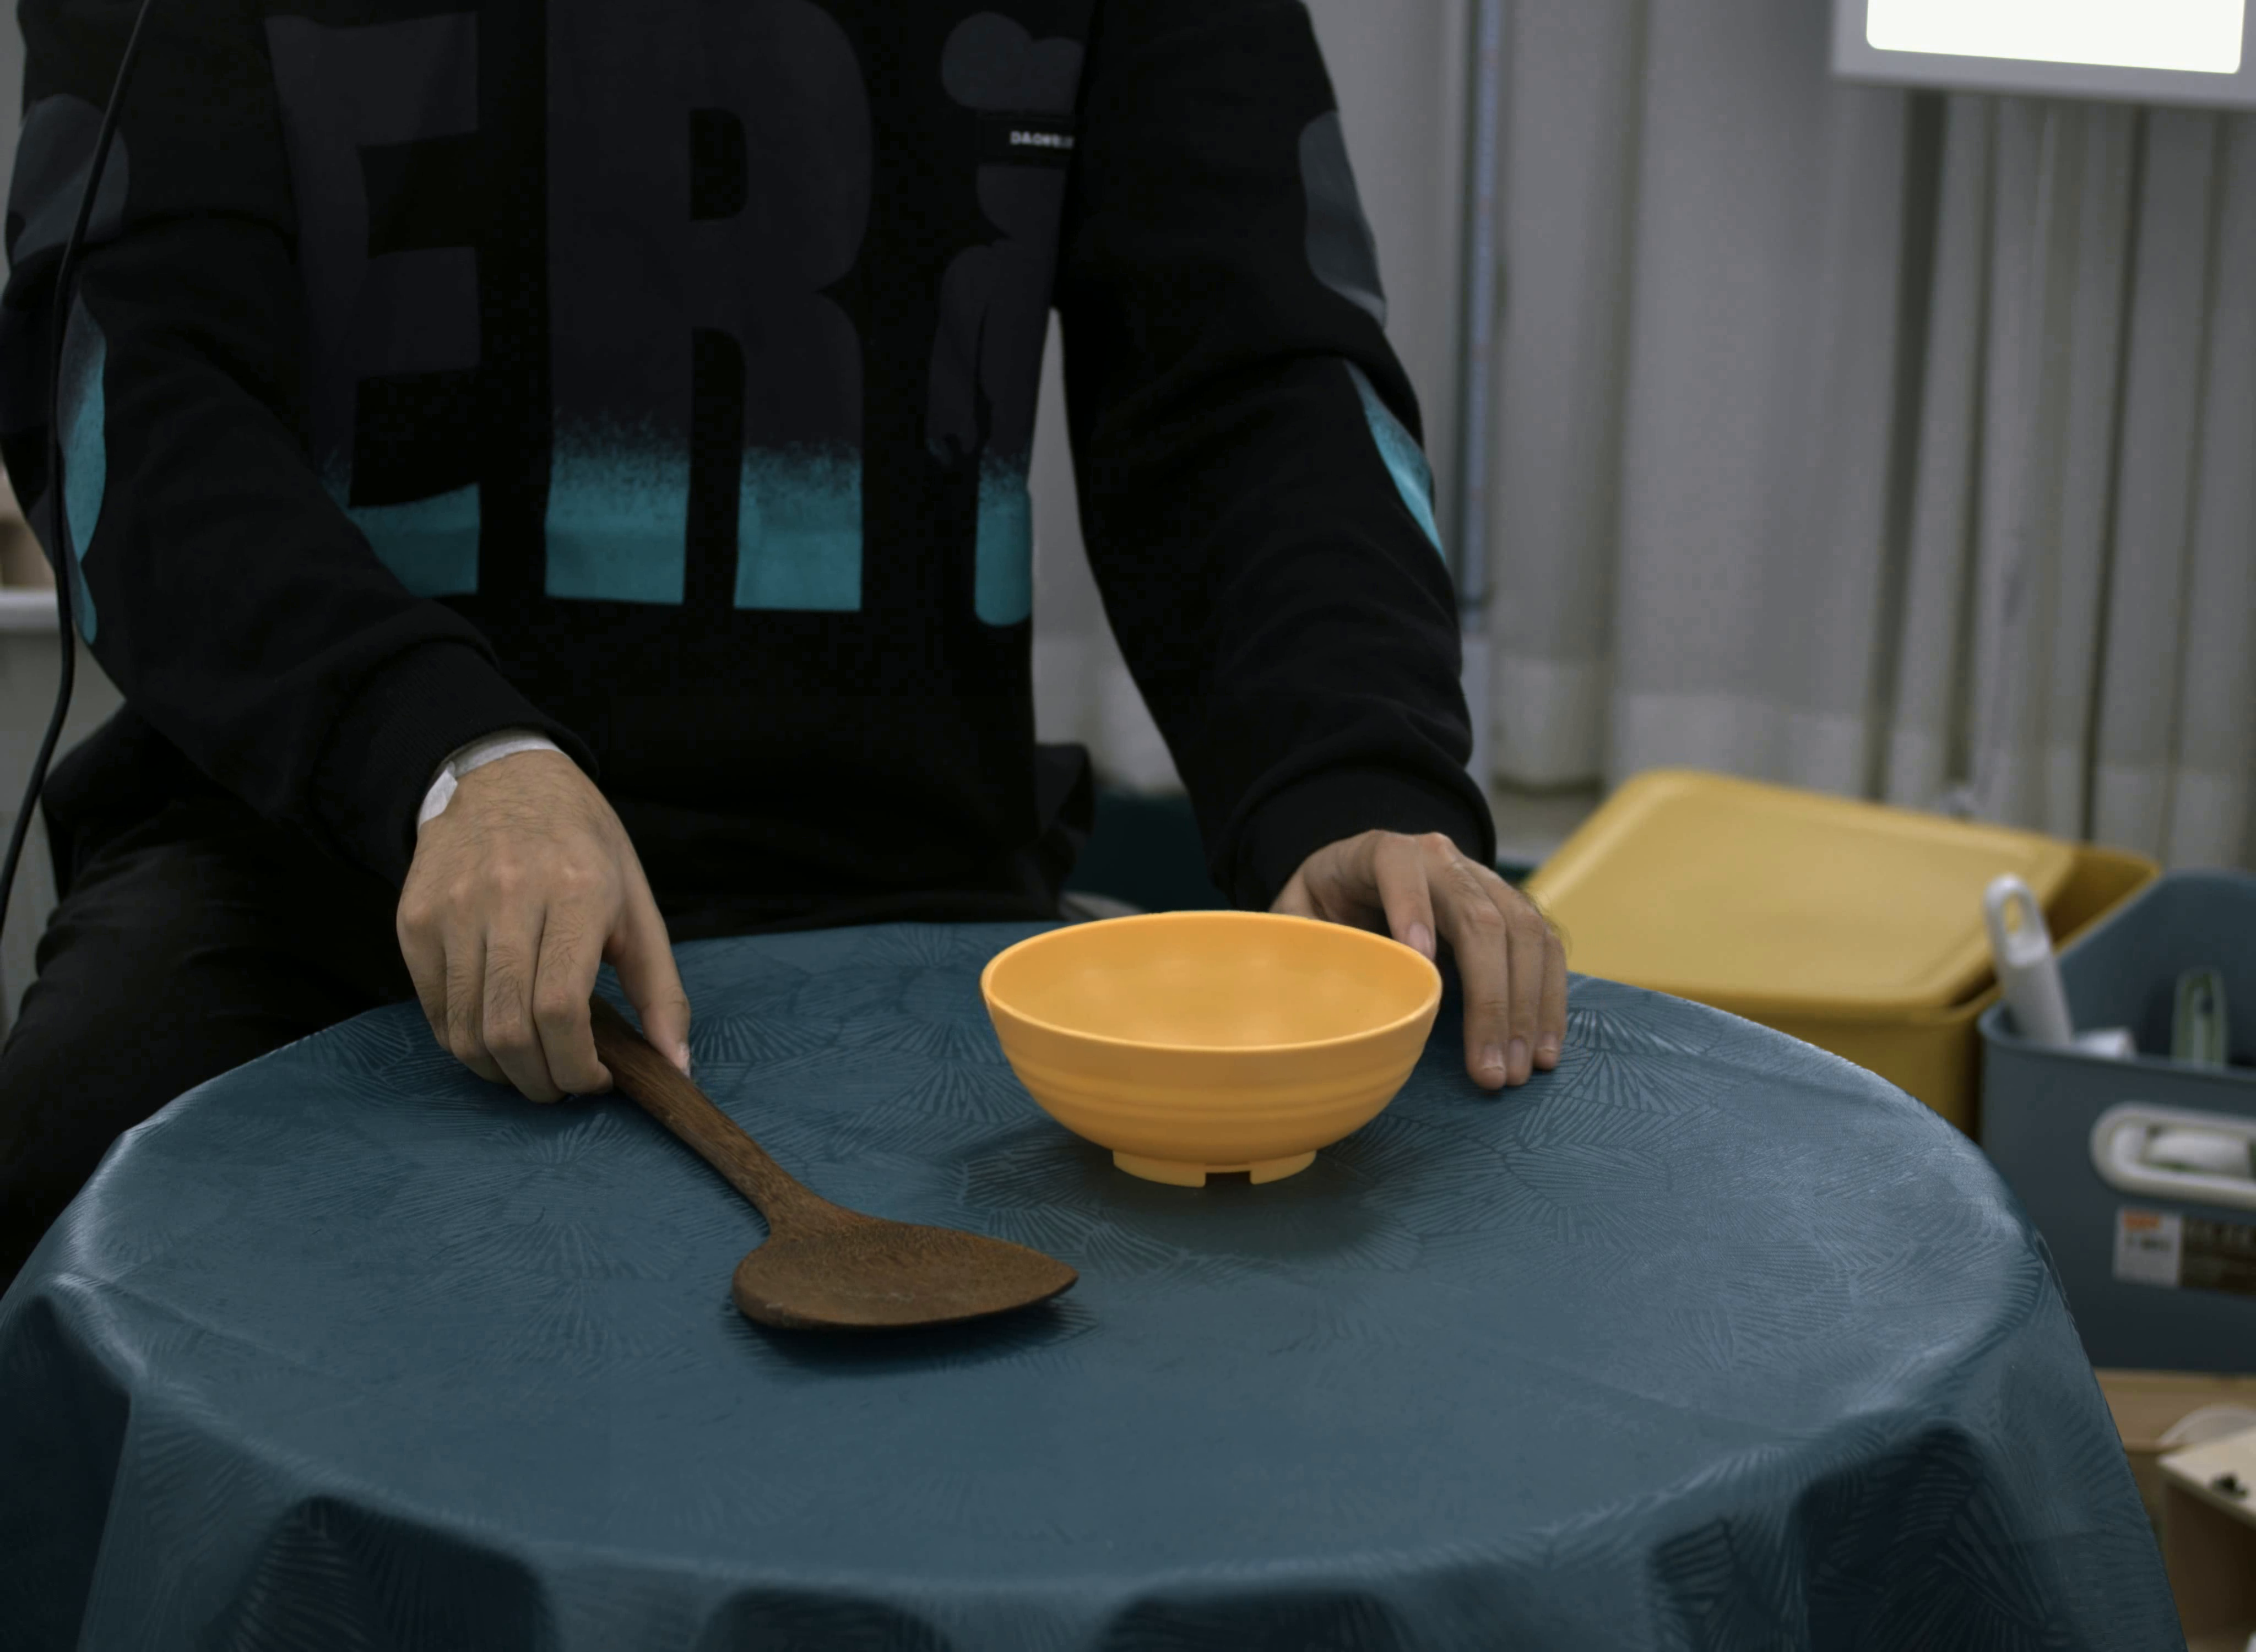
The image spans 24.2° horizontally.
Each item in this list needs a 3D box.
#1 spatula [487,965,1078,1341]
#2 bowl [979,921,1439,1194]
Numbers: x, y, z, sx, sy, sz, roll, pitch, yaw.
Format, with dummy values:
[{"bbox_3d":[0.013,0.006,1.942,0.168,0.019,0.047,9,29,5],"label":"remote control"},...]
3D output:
[{"bbox_3d":[-0.131,0.096,1.652,0.096,0.016,0.381,-6,18,-25],"label":"spatula"},{"bbox_3d":[0.024,0.077,1.652,0.145,0.060,0.144,3,14,0],"label":"bowl"}]
